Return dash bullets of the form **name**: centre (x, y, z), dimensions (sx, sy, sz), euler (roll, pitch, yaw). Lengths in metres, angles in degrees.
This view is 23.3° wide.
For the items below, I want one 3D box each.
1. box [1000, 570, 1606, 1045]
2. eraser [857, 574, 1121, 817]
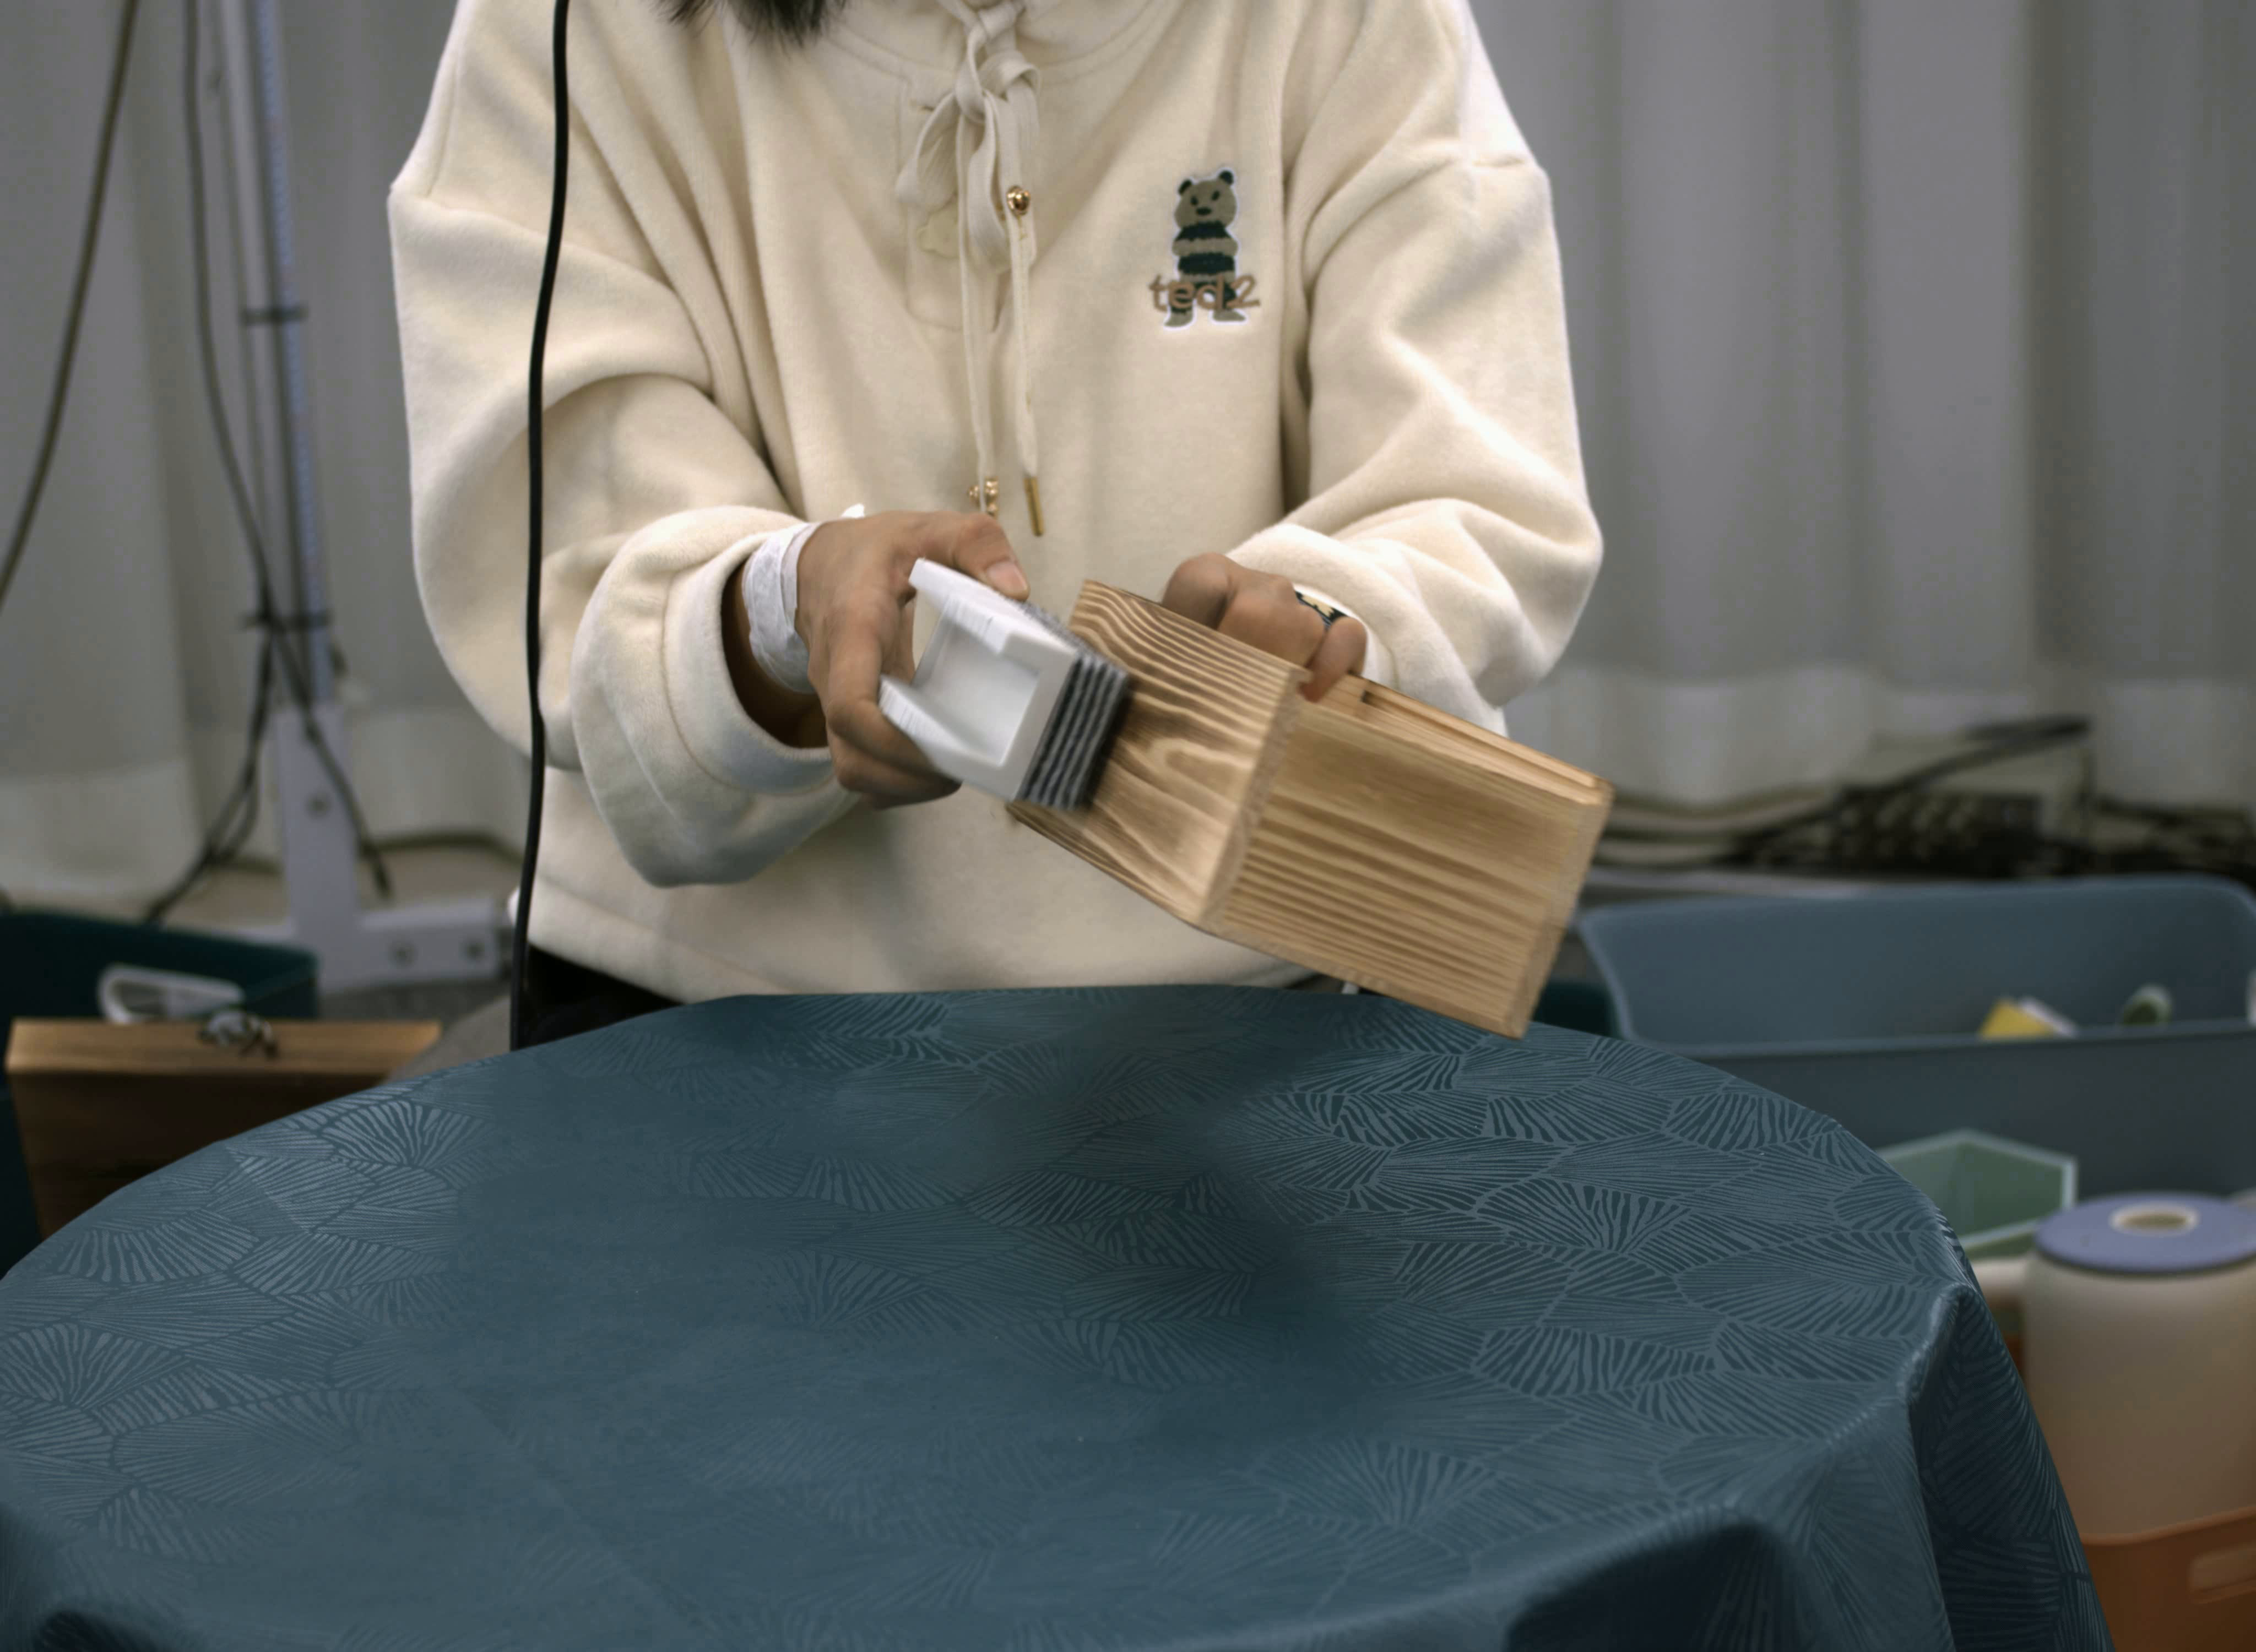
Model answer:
- **box**: centre (0.048, -0.009, 1.642), dimensions (0.106, 0.080, 0.213), euler (20, 4, -19)
- **eraser**: centre (-0.044, -0.041, 1.693), dimensions (0.046, 0.050, 0.135), euler (19, 4, -18)
